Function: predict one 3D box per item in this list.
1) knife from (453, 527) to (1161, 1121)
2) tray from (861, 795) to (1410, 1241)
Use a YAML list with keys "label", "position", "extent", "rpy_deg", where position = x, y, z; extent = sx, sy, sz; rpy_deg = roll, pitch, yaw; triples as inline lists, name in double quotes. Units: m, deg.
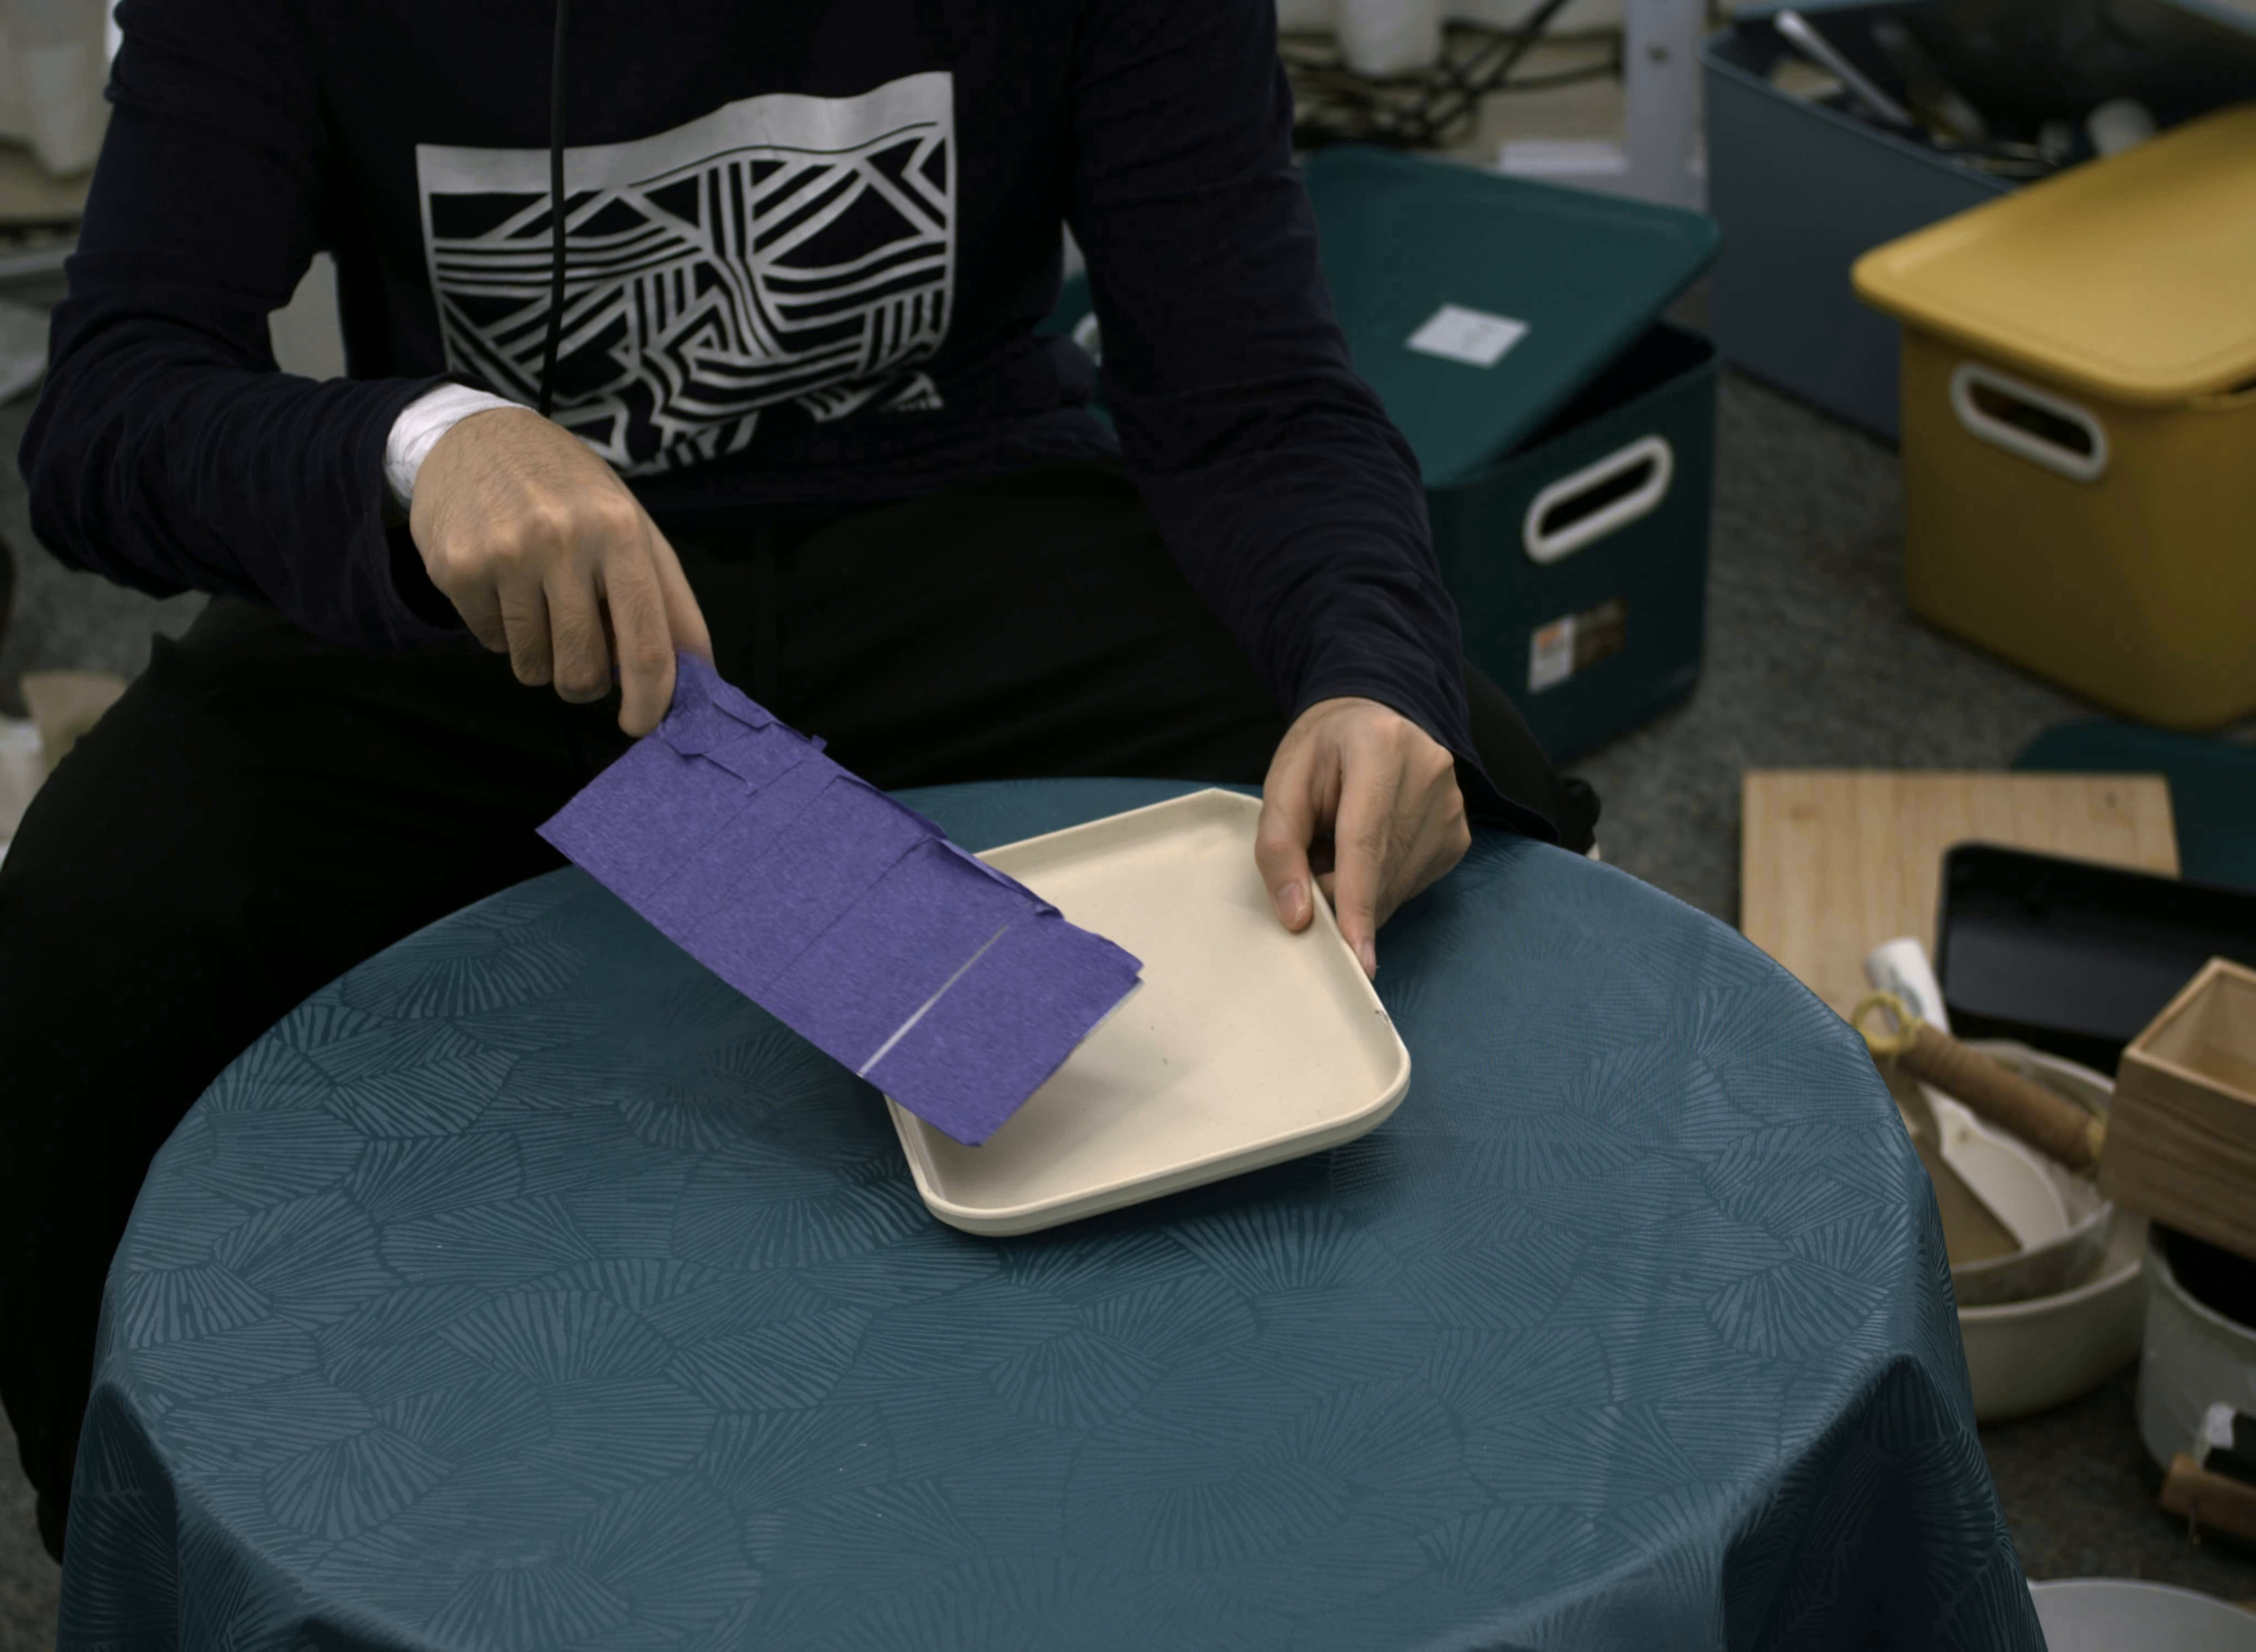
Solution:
- label: "knife"
  position: [-0.136, -0.003, 1.921]
  extent: [0.316, 0.032, 0.105]
  rpy_deg: [32, 59, 29]
- label: "tray"
  position: [-0.006, 0.065, 1.934]
  extent: [0.171, 0.017, 0.242]
  rpy_deg: [-15, 29, -6]
